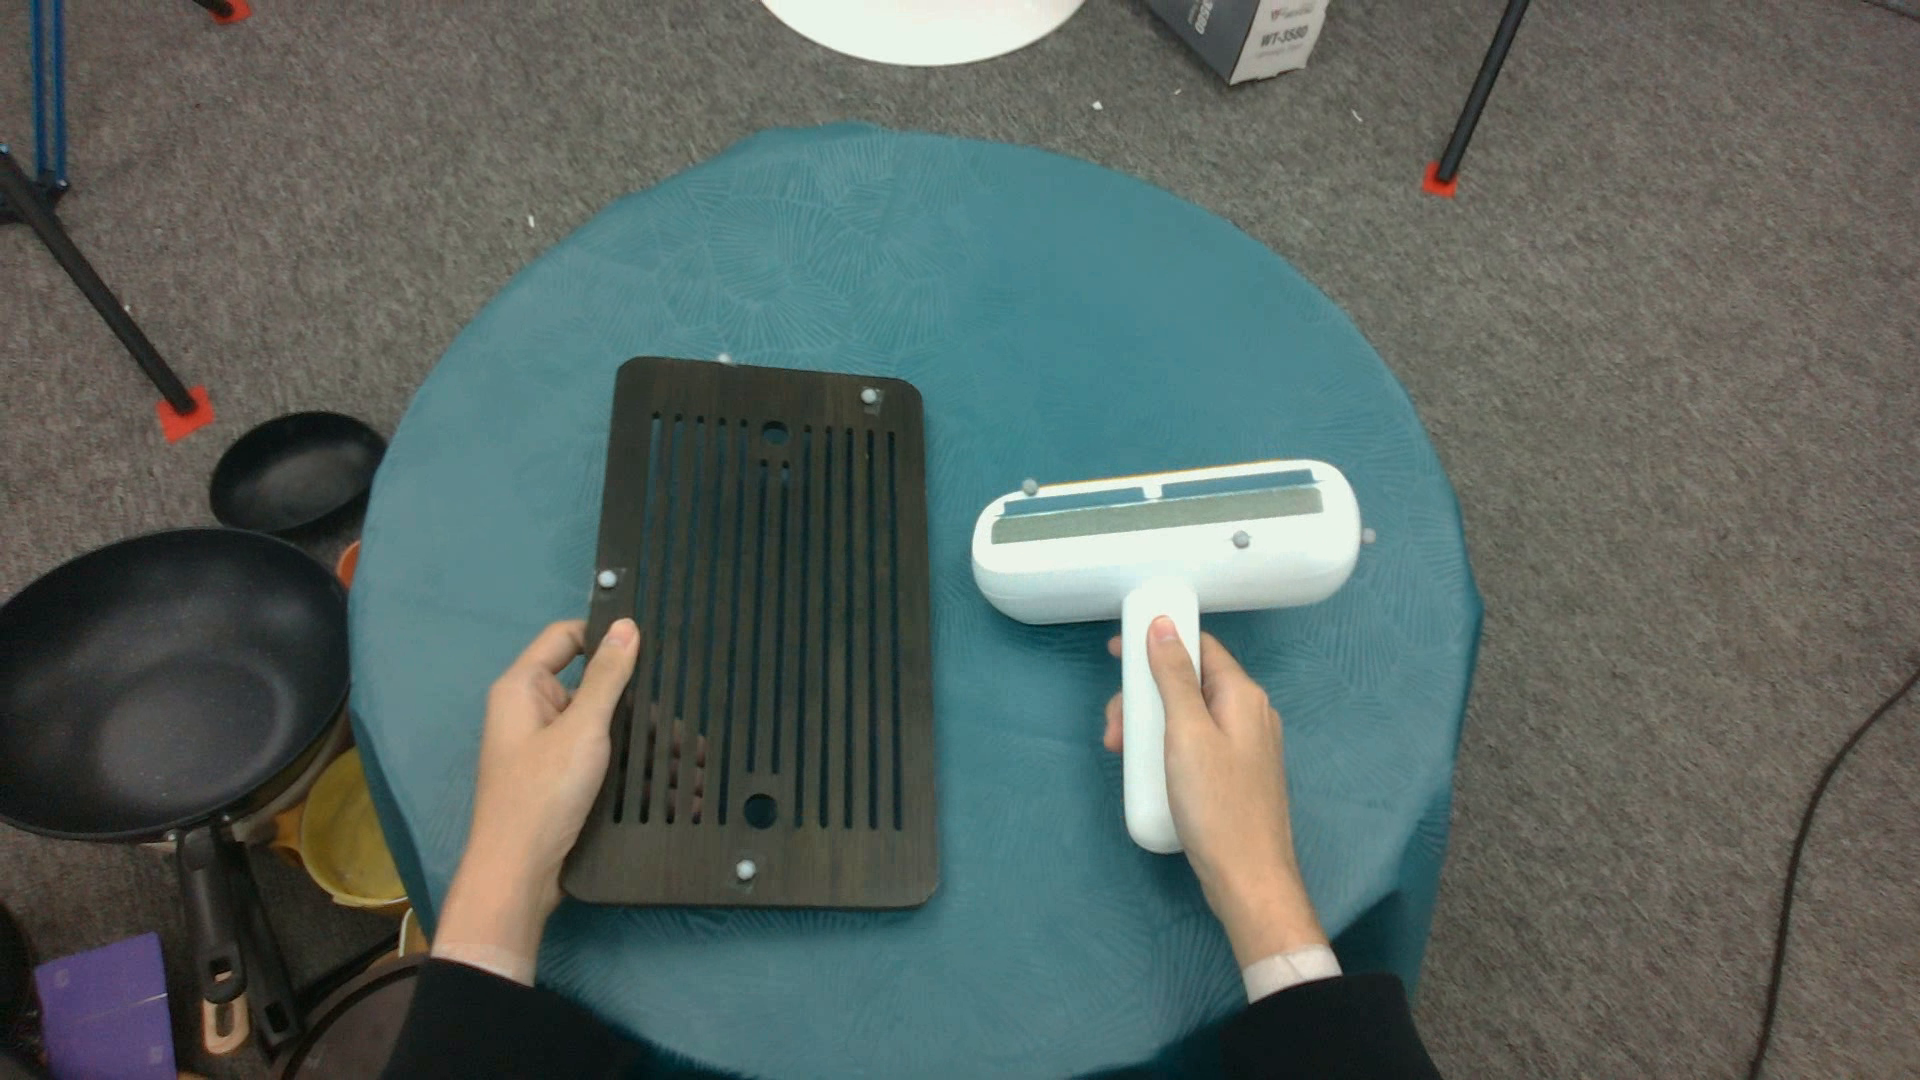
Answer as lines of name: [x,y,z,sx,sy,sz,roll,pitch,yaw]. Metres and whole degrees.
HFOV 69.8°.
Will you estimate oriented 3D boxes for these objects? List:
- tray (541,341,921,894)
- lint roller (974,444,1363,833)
tray: [-0.109,0.028,0.695,0.170,0.018,0.307,3,58,-11]
lint roller: [0.094,0.042,0.662,0.192,0.074,0.193,-1,55,16]
